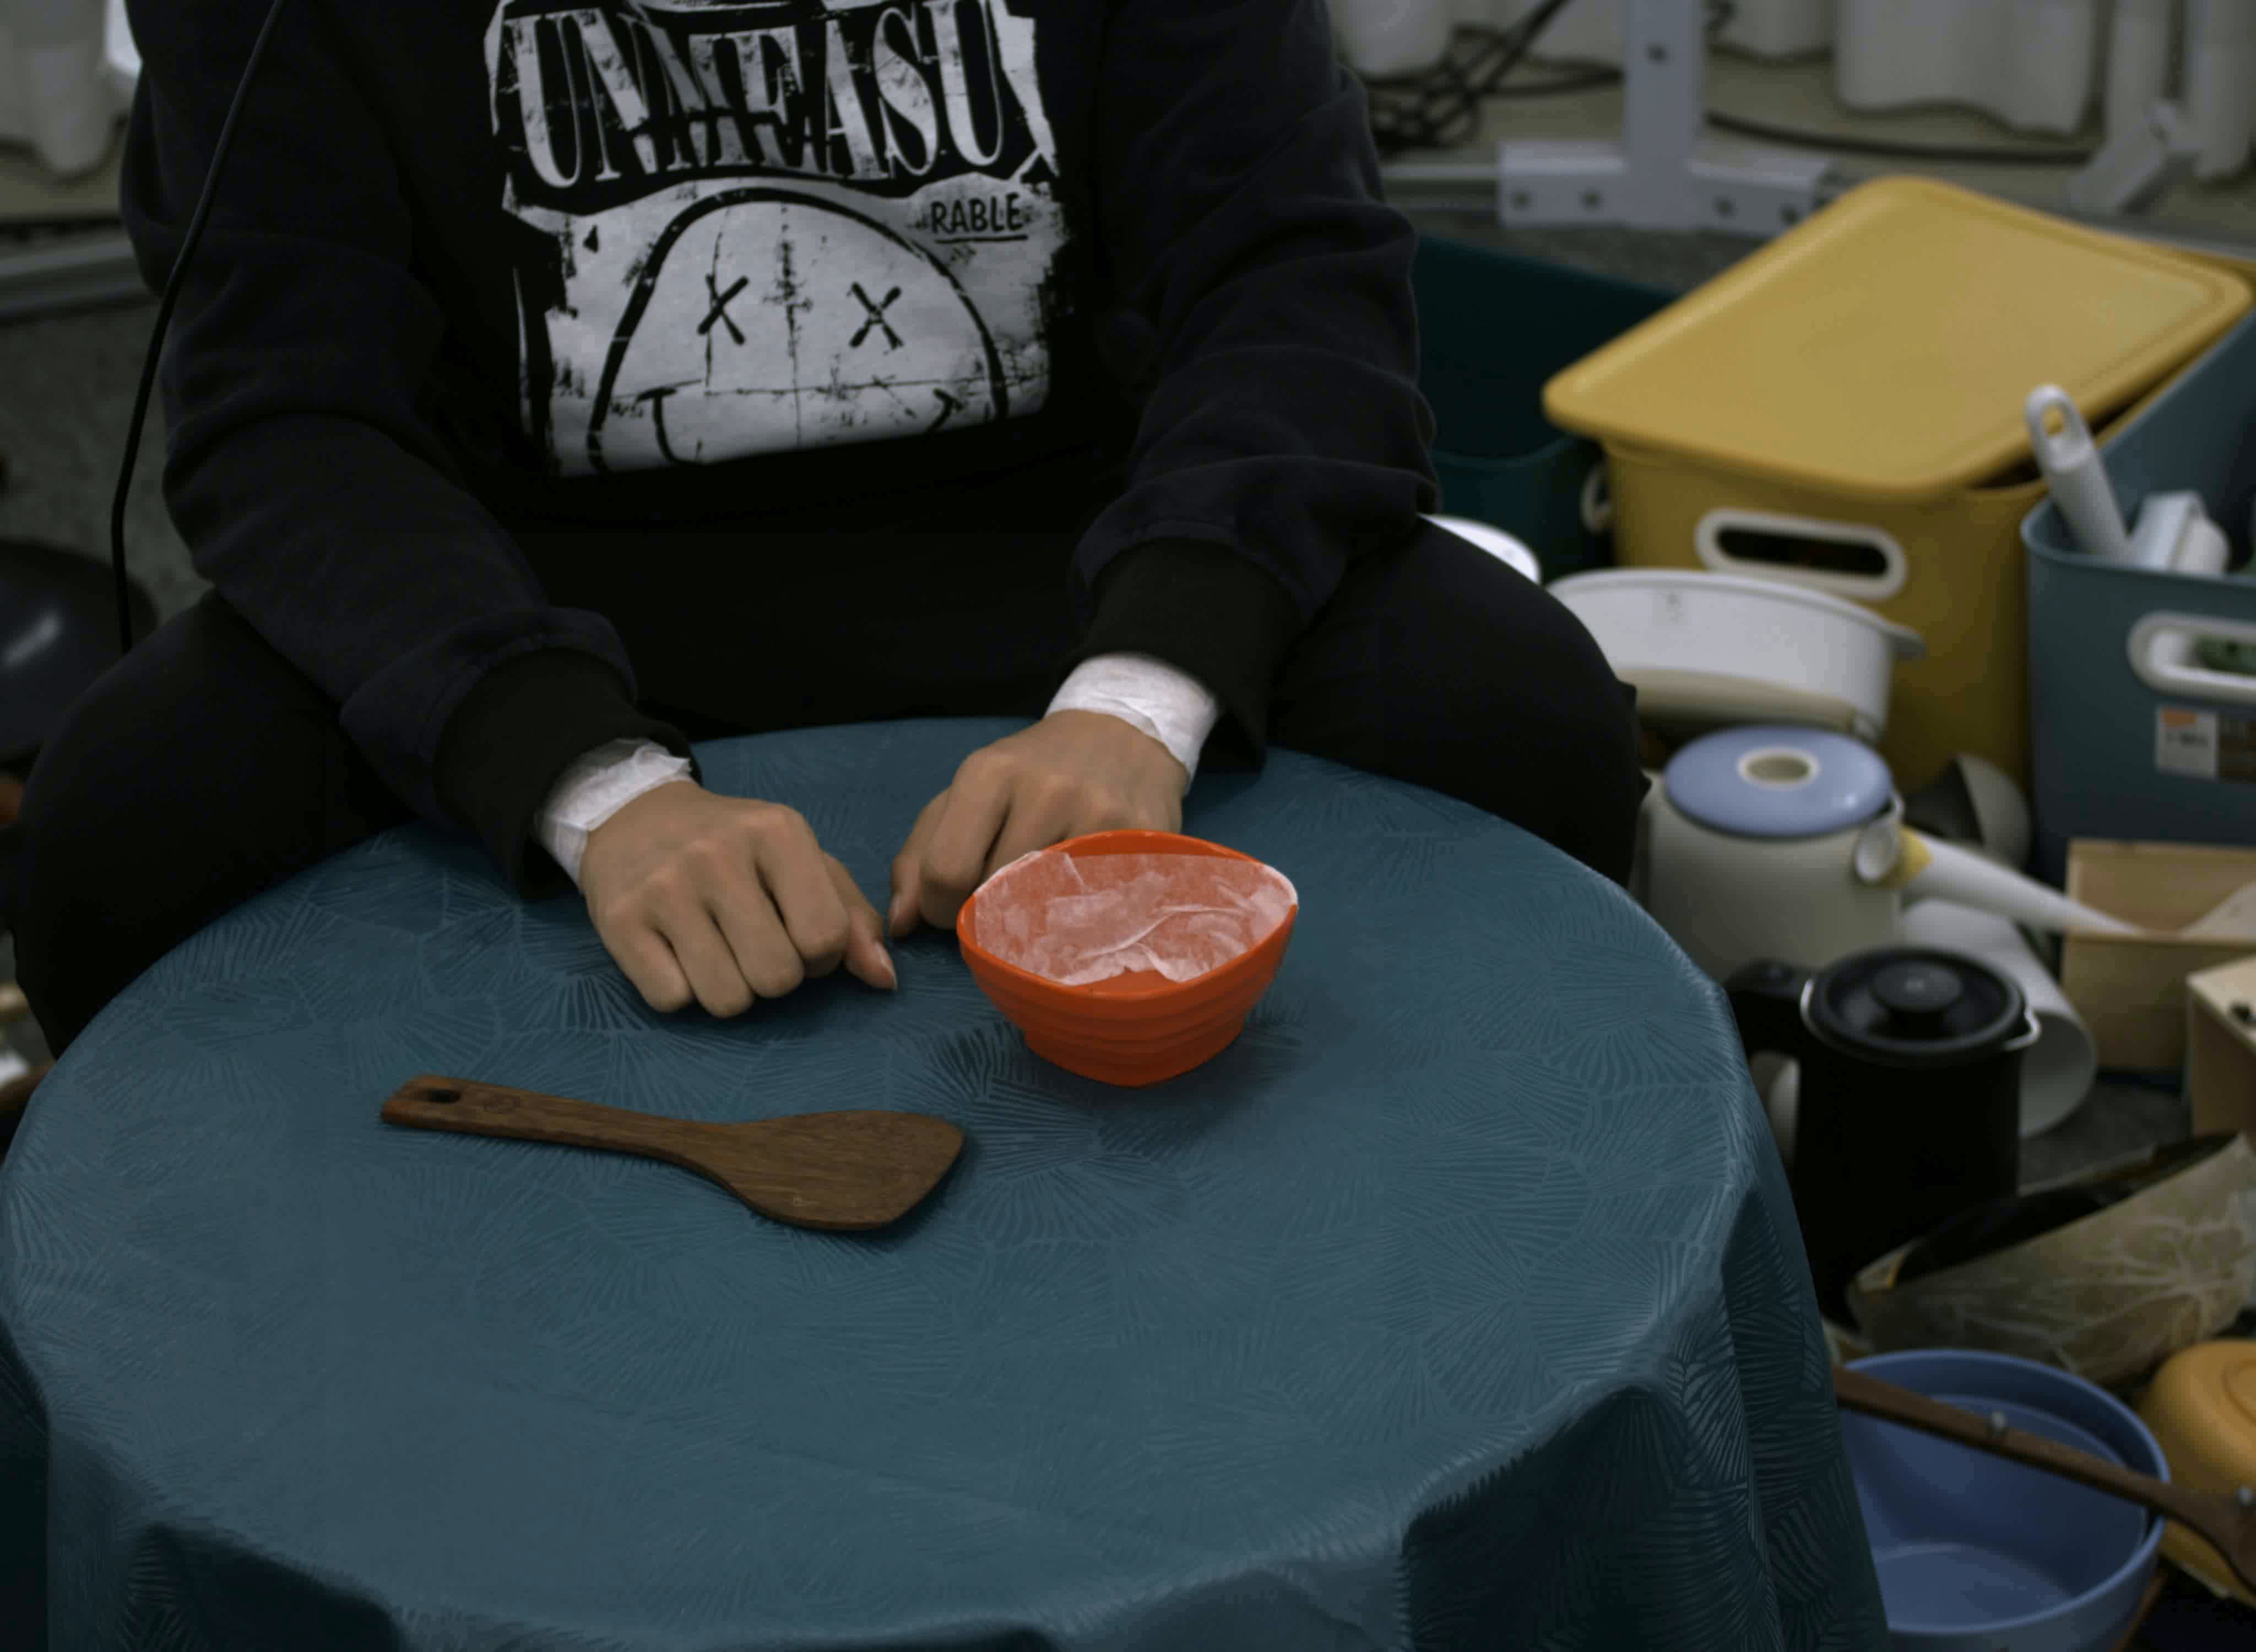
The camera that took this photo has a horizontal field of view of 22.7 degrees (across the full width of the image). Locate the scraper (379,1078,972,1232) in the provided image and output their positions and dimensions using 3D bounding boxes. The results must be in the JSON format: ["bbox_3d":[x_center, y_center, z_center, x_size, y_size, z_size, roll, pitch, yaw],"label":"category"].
[{"bbox_3d":[-0.157,0.107,1.898,0.210,0.011,0.077,7,28,20],"label":"scraper"}]

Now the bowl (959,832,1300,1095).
[{"bbox_3d":[0.002,0.052,1.944,0.118,0.051,0.121,-3,28,2],"label":"bowl"}]
